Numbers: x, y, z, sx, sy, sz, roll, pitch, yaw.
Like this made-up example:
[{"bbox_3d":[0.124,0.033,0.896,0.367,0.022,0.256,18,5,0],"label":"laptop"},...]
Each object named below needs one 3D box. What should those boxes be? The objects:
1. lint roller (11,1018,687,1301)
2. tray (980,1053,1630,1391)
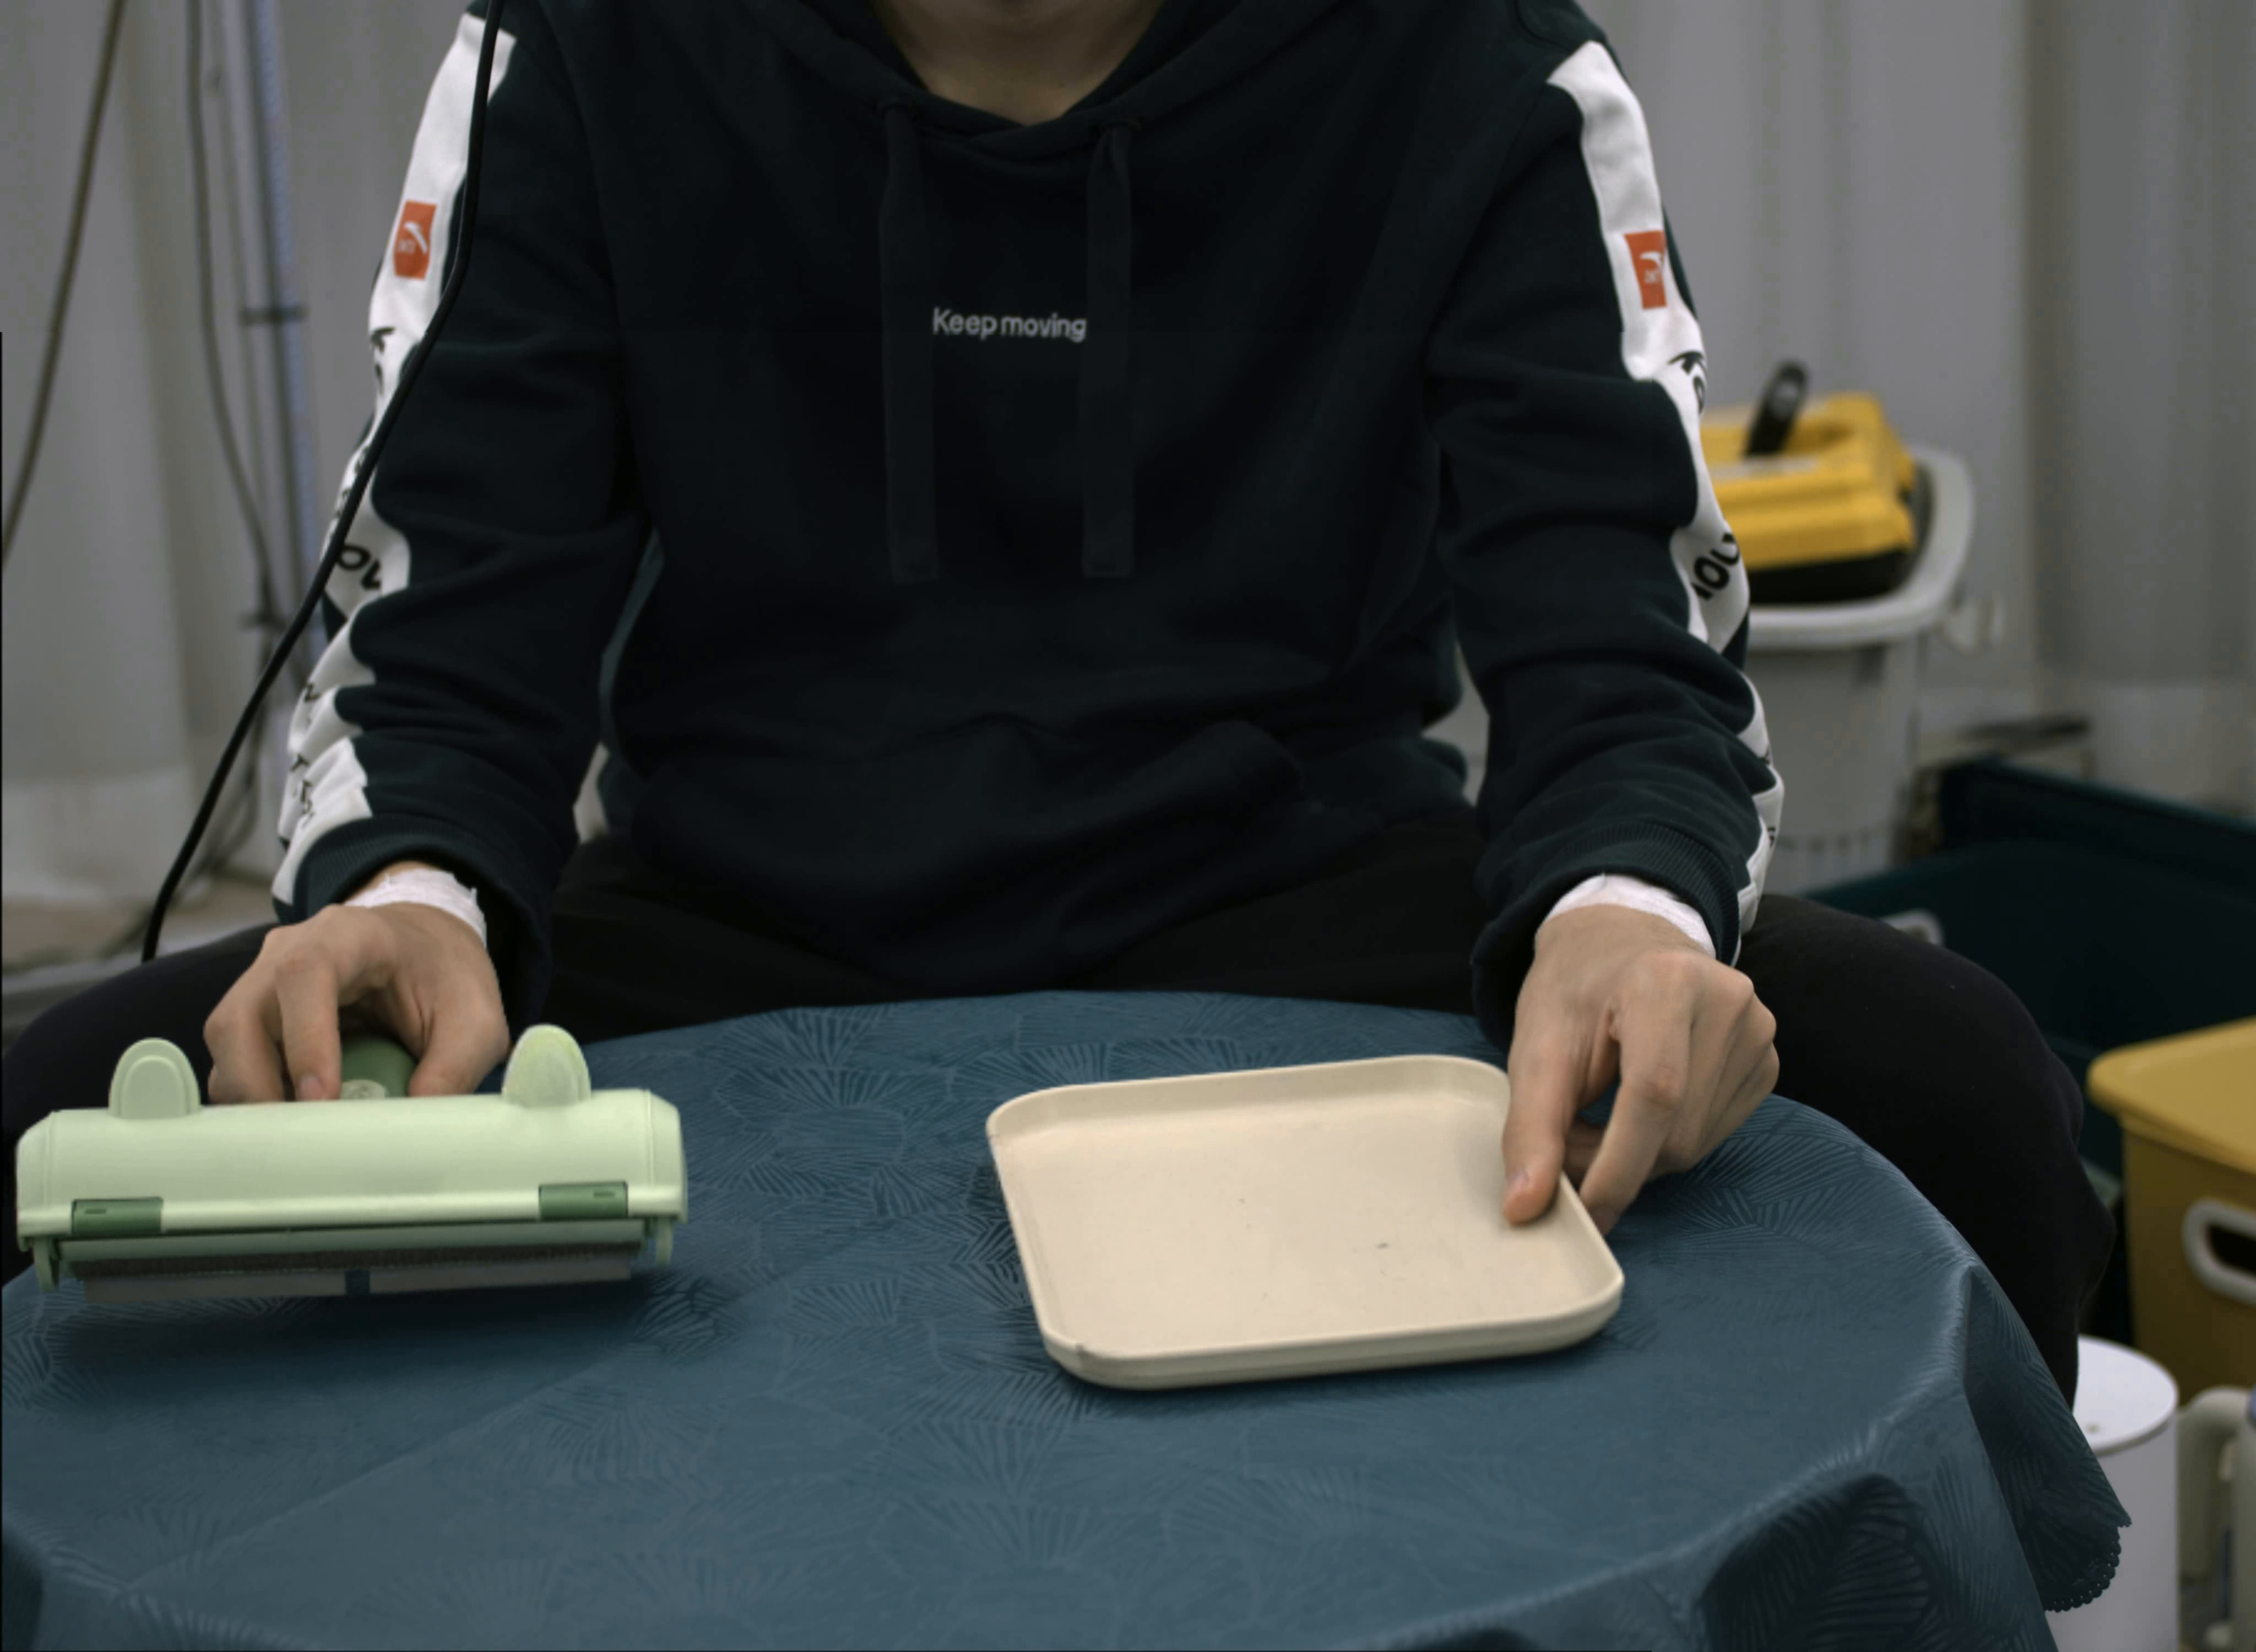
[{"bbox_3d":[-0.237,0.080,1.678,0.198,0.081,0.185,-3,24,-5],"label":"lint roller"},{"bbox_3d":[0.049,0.118,1.648,0.170,0.017,0.241,-5,16,-6],"label":"tray"}]
